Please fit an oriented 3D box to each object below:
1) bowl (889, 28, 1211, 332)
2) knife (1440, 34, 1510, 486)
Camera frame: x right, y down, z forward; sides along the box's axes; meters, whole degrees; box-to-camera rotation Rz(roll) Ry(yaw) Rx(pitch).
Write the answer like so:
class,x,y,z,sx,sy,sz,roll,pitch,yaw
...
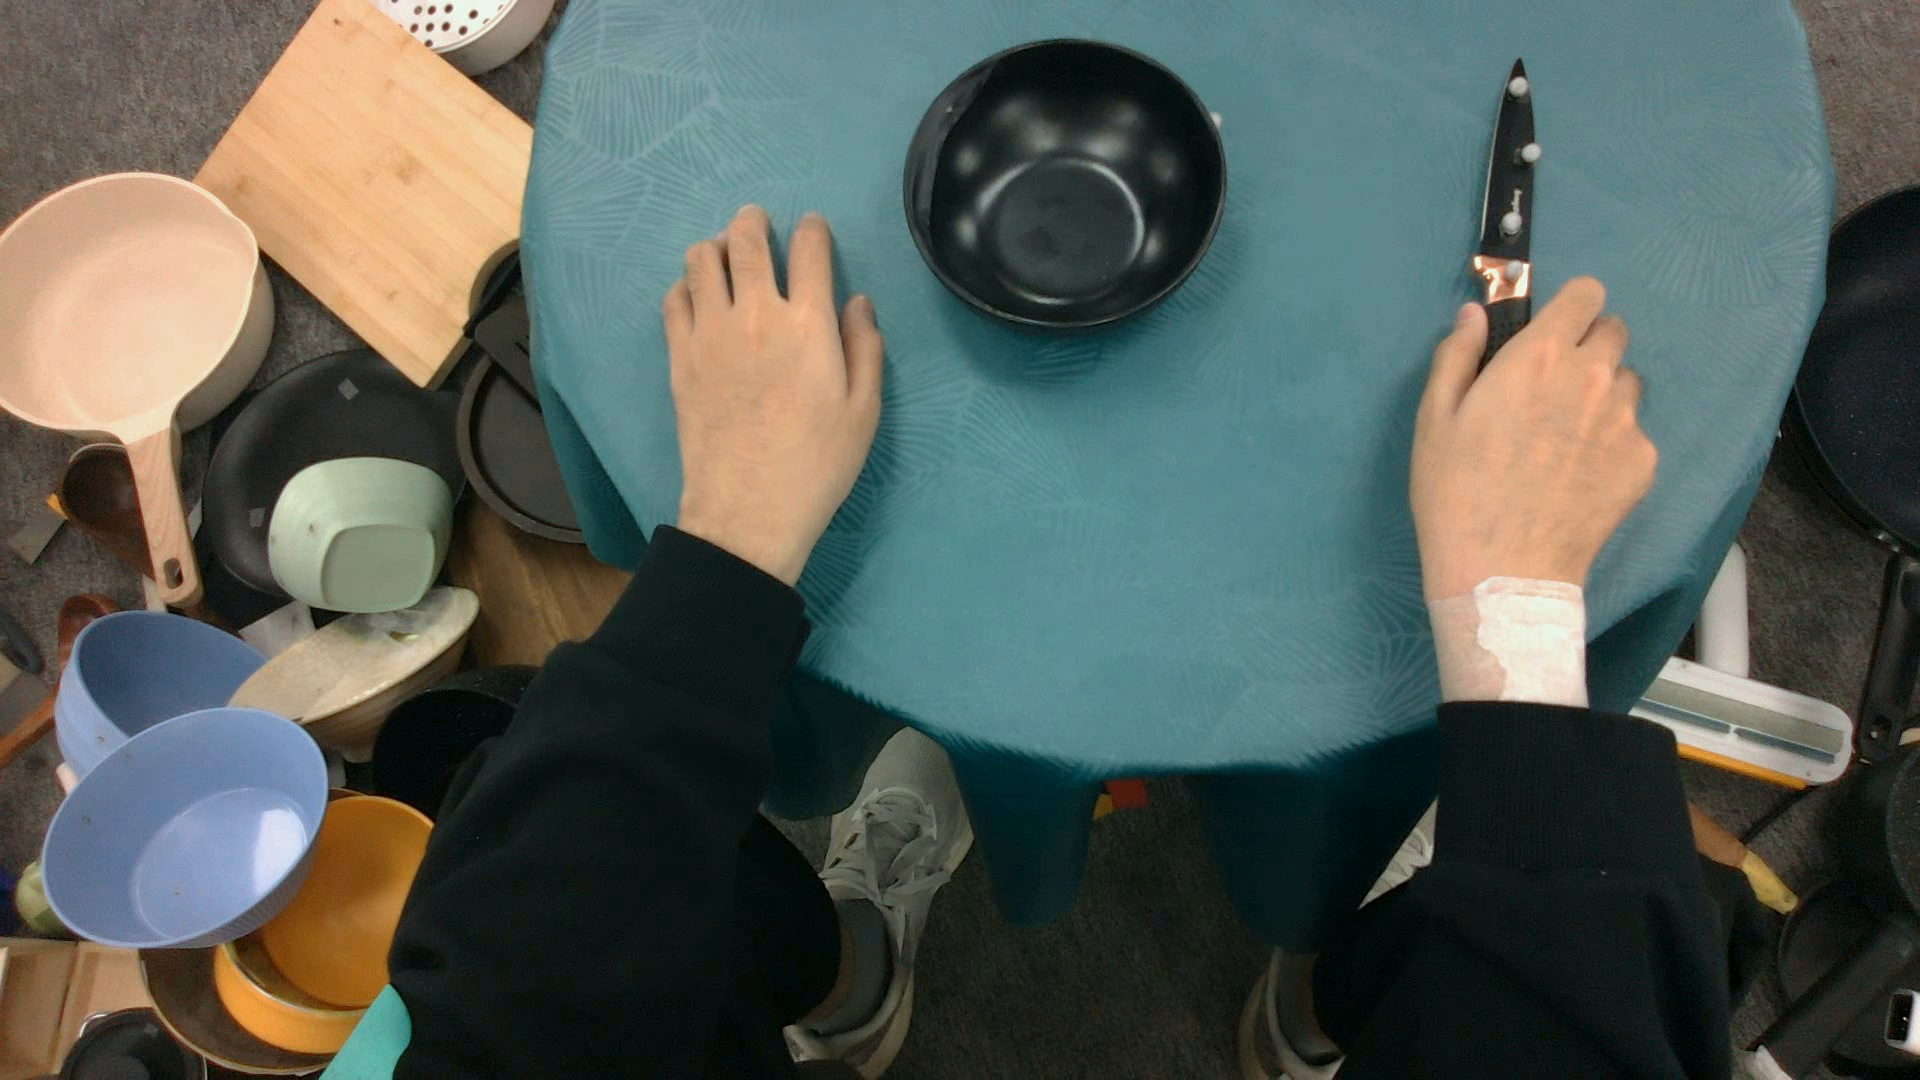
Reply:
class,x,y,z,sx,sy,sz,roll,pitch,yaw
bowl,0.039,-0.153,0.614,0.140,0.049,0.140,0,78,3
knife,0.227,-0.129,0.604,0.026,0.017,0.226,12,71,-4
